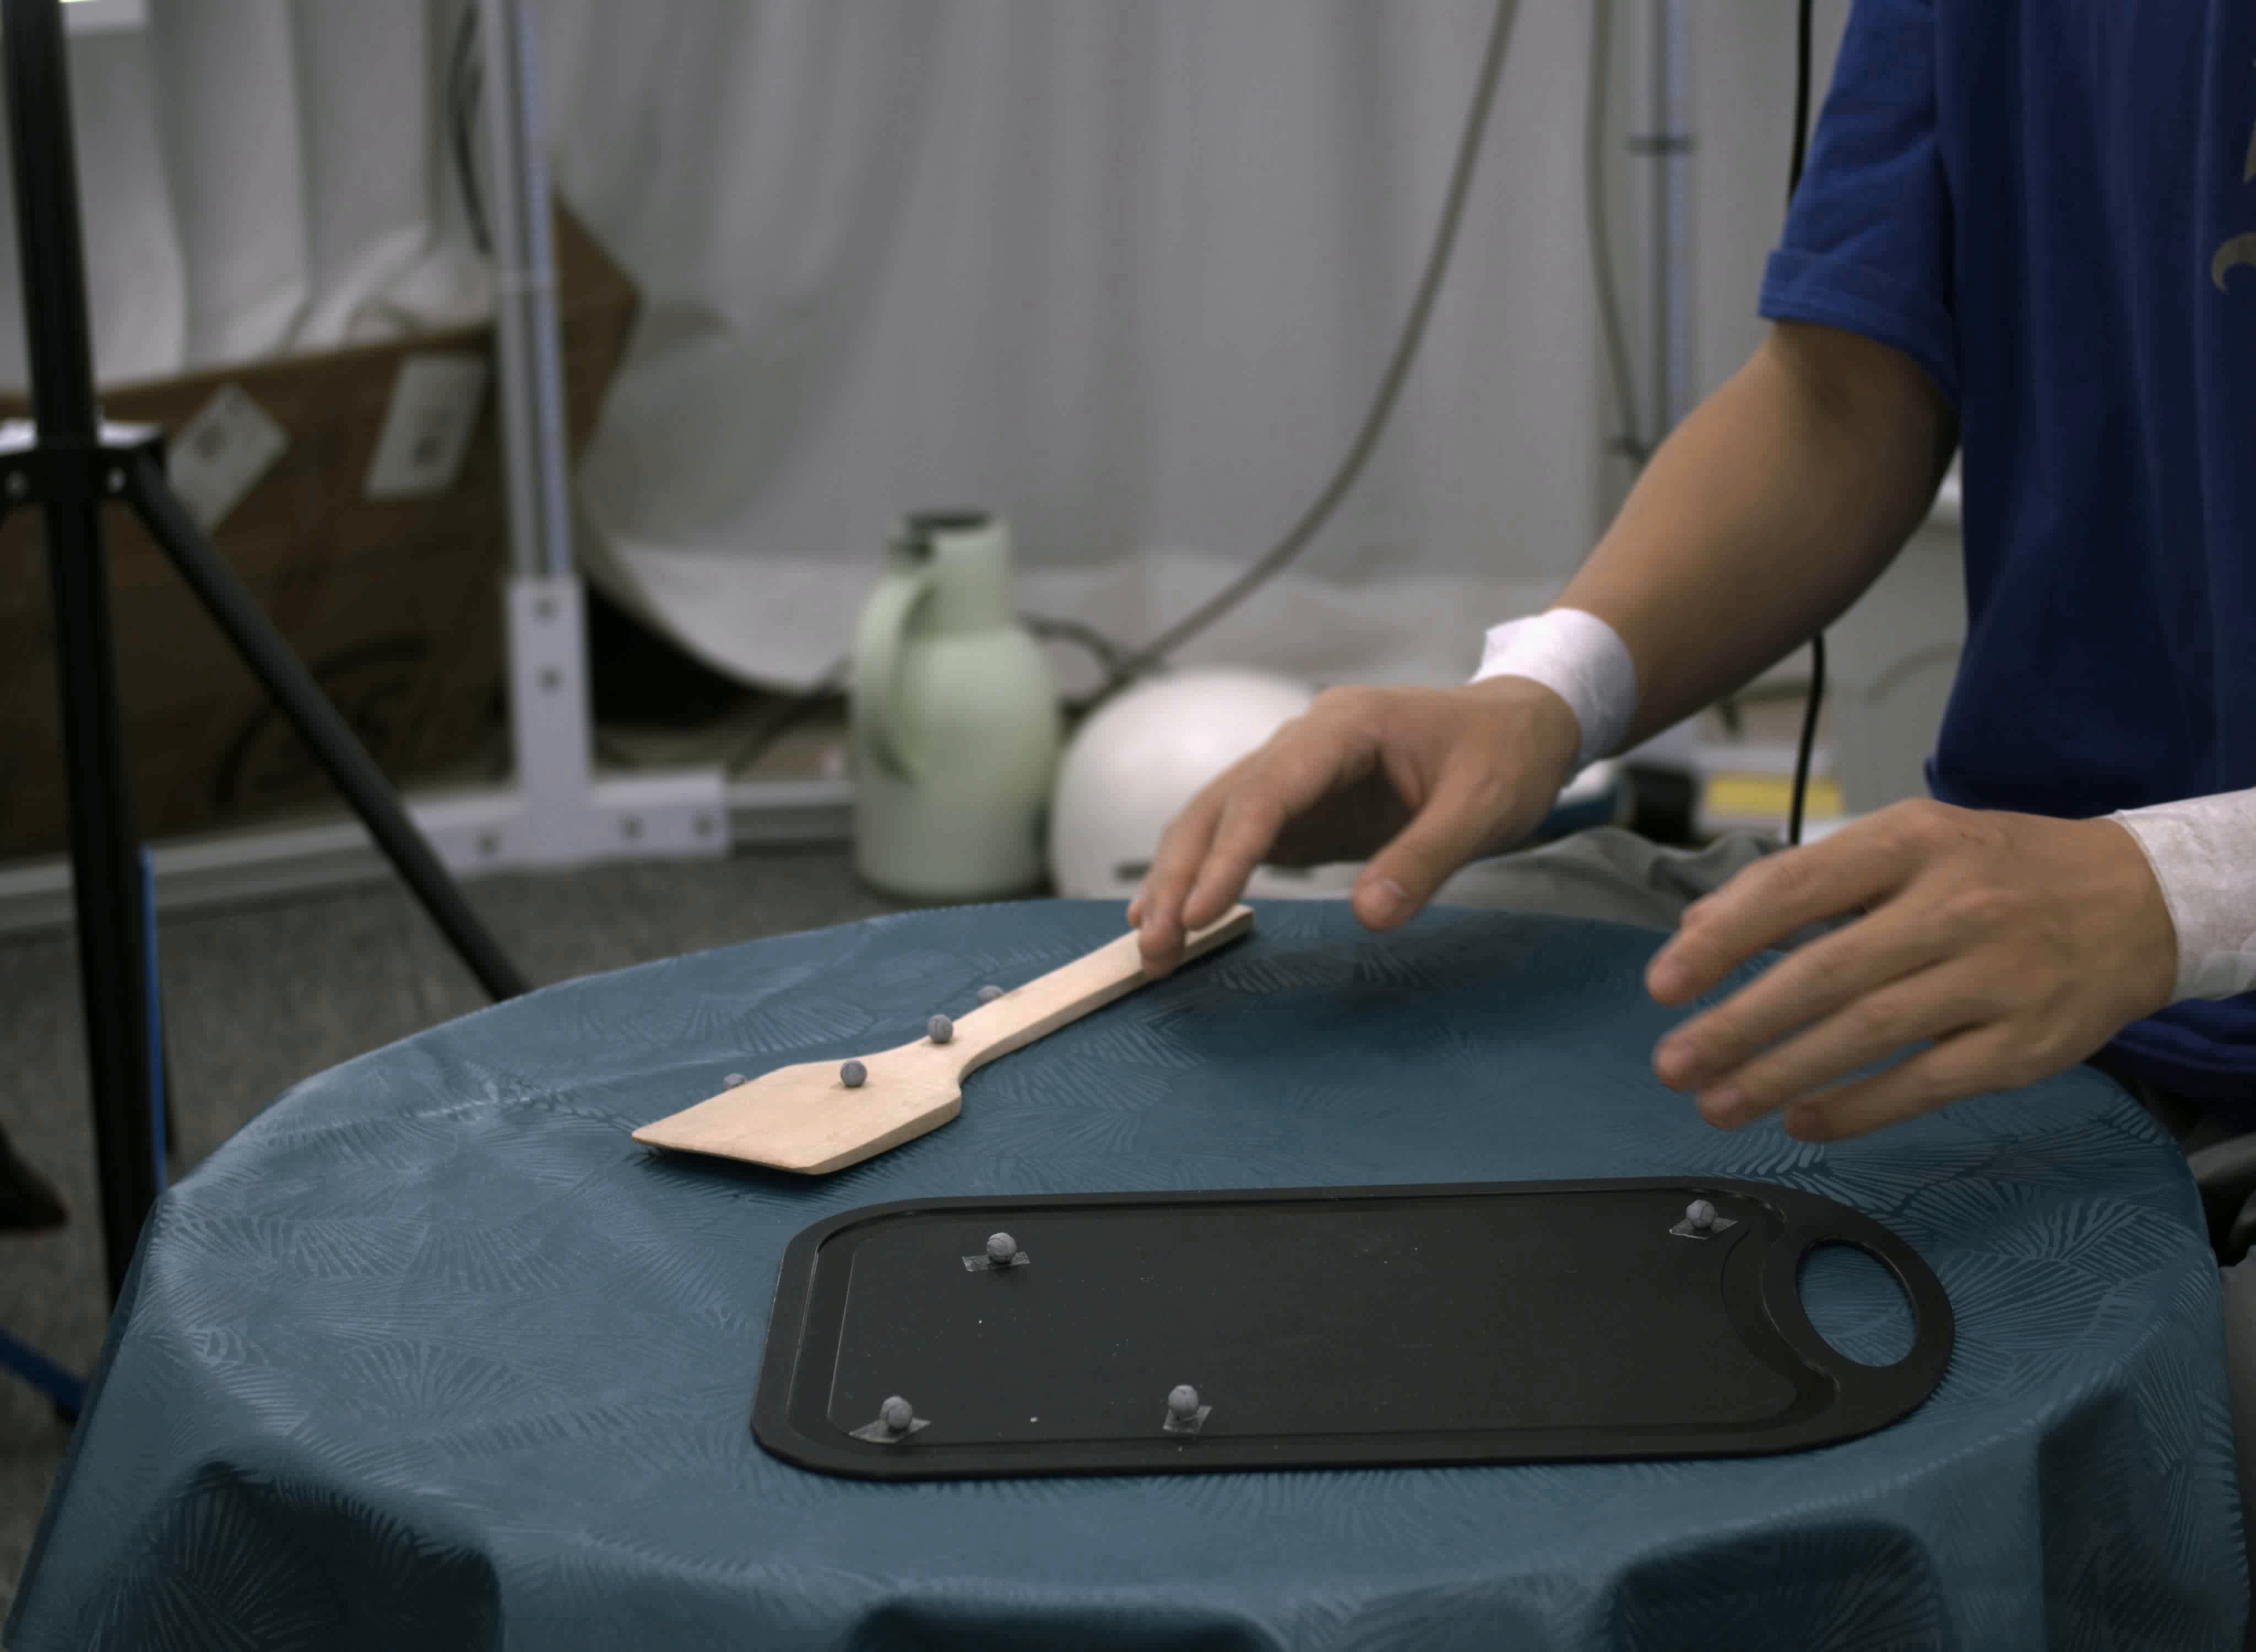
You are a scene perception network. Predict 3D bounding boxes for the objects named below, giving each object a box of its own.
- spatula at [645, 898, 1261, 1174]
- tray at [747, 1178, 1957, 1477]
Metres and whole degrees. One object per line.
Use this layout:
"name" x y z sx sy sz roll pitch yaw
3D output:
"spatula" -0.042 0.064 1.703 0.073 0.010 0.287 6 18 33
"tray" 0.063 0.133 1.446 0.325 0.010 0.211 -1 16 4
